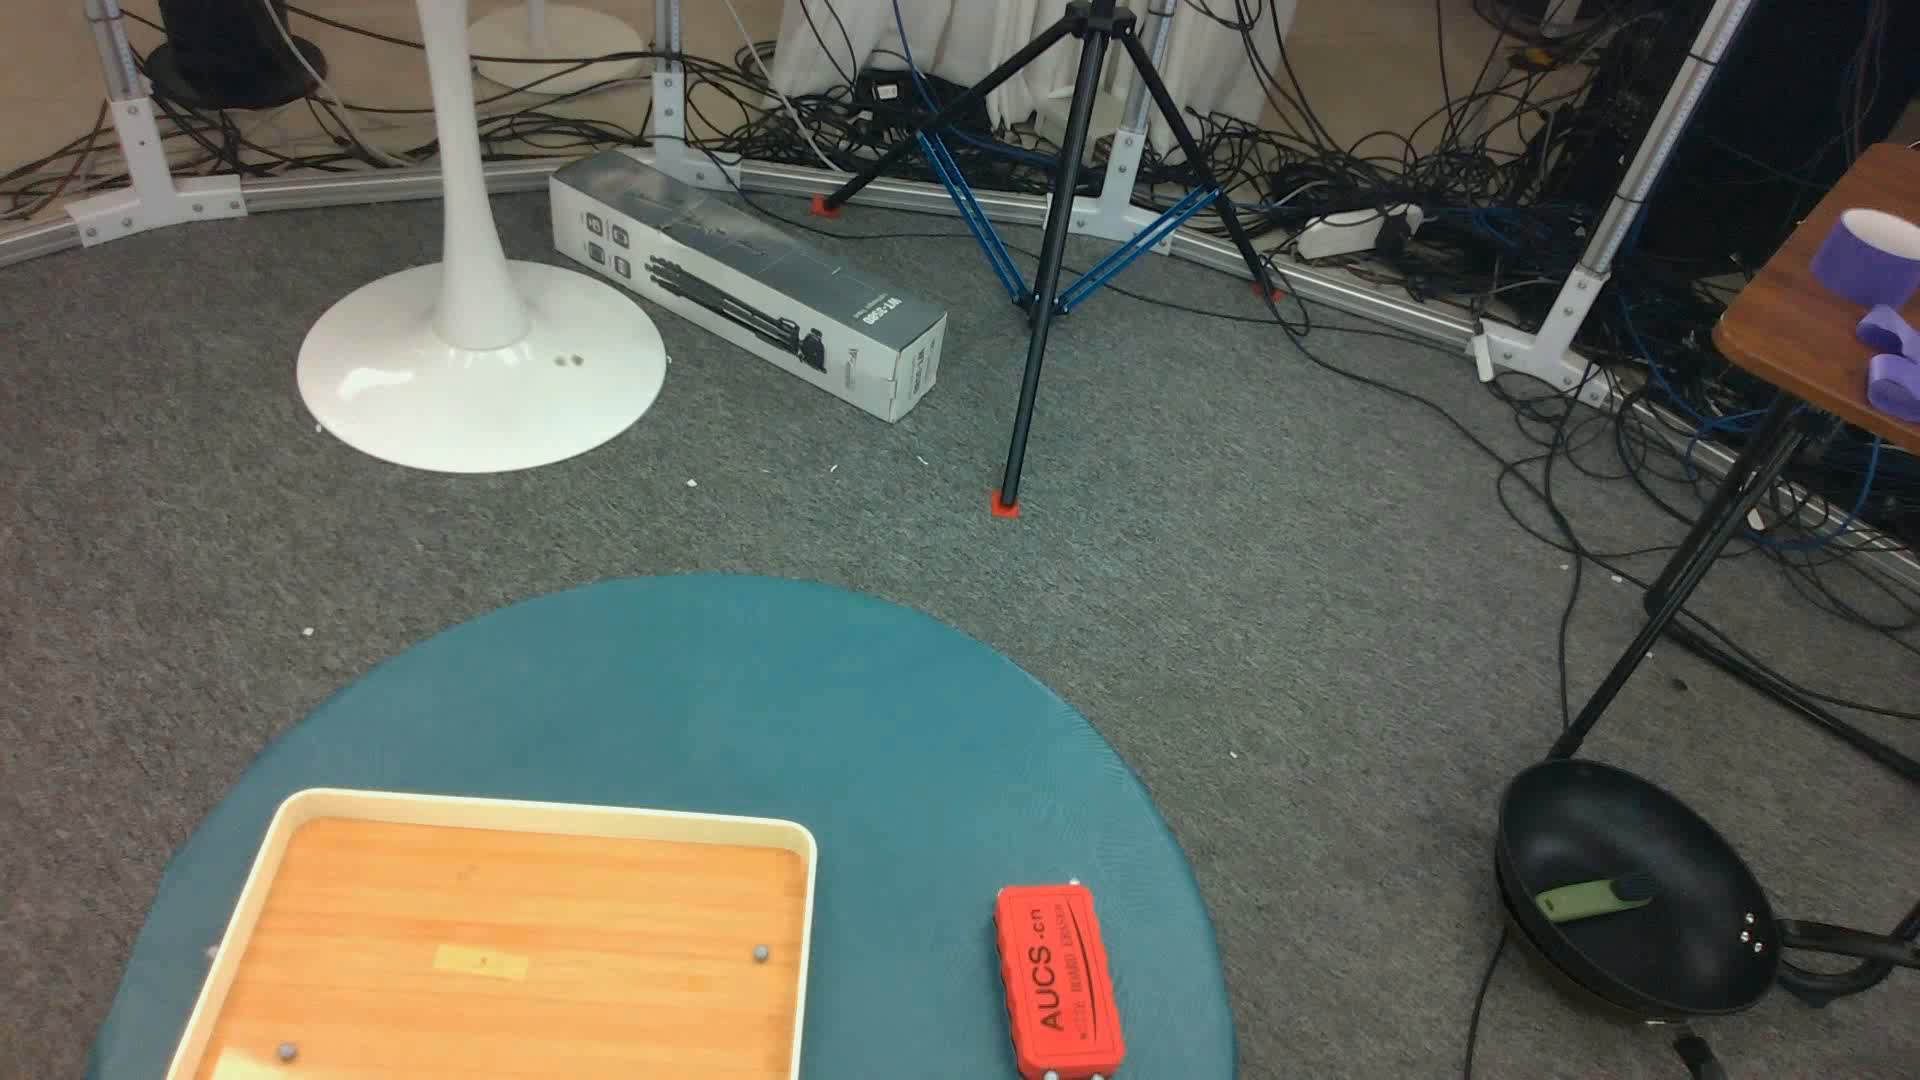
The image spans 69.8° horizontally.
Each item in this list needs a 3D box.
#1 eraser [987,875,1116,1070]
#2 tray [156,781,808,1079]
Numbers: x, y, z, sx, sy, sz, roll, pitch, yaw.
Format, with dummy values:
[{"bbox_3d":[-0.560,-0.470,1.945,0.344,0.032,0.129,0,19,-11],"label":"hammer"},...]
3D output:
[{"bbox_3d":[0.050,0.242,0.778,0.059,0.023,0.108,2,45,-13],"label":"eraser"},{"bbox_3d":[-0.236,0.223,0.733,0.300,0.027,0.192,6,44,-7],"label":"tray"}]
